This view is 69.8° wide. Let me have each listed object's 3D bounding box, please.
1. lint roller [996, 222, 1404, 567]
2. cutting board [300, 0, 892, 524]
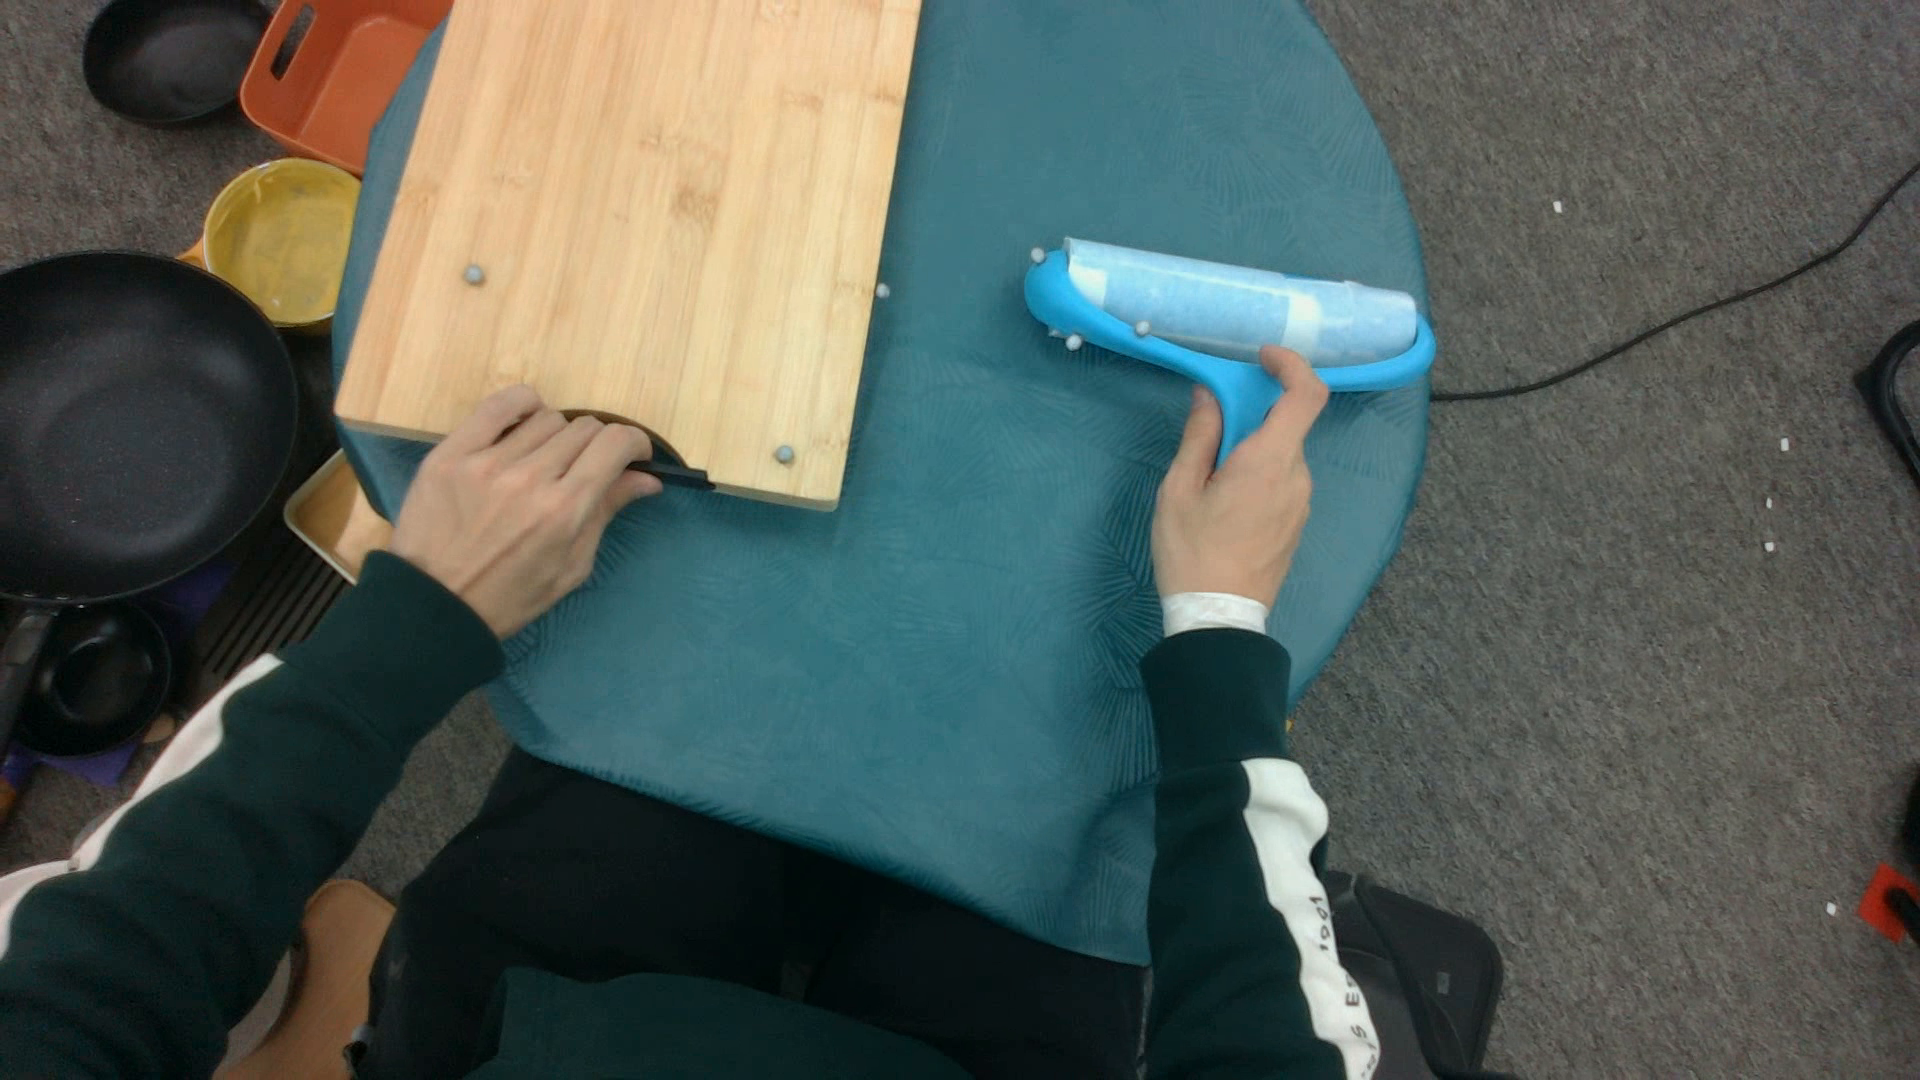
[{"bbox_3d":[0.134,-0.080,0.731,0.229,0.067,0.181,3,69,-13],"label":"lint roller"},{"bbox_3d":[-0.172,-0.187,0.716,0.251,0.023,0.349,7,70,-7],"label":"cutting board"}]
